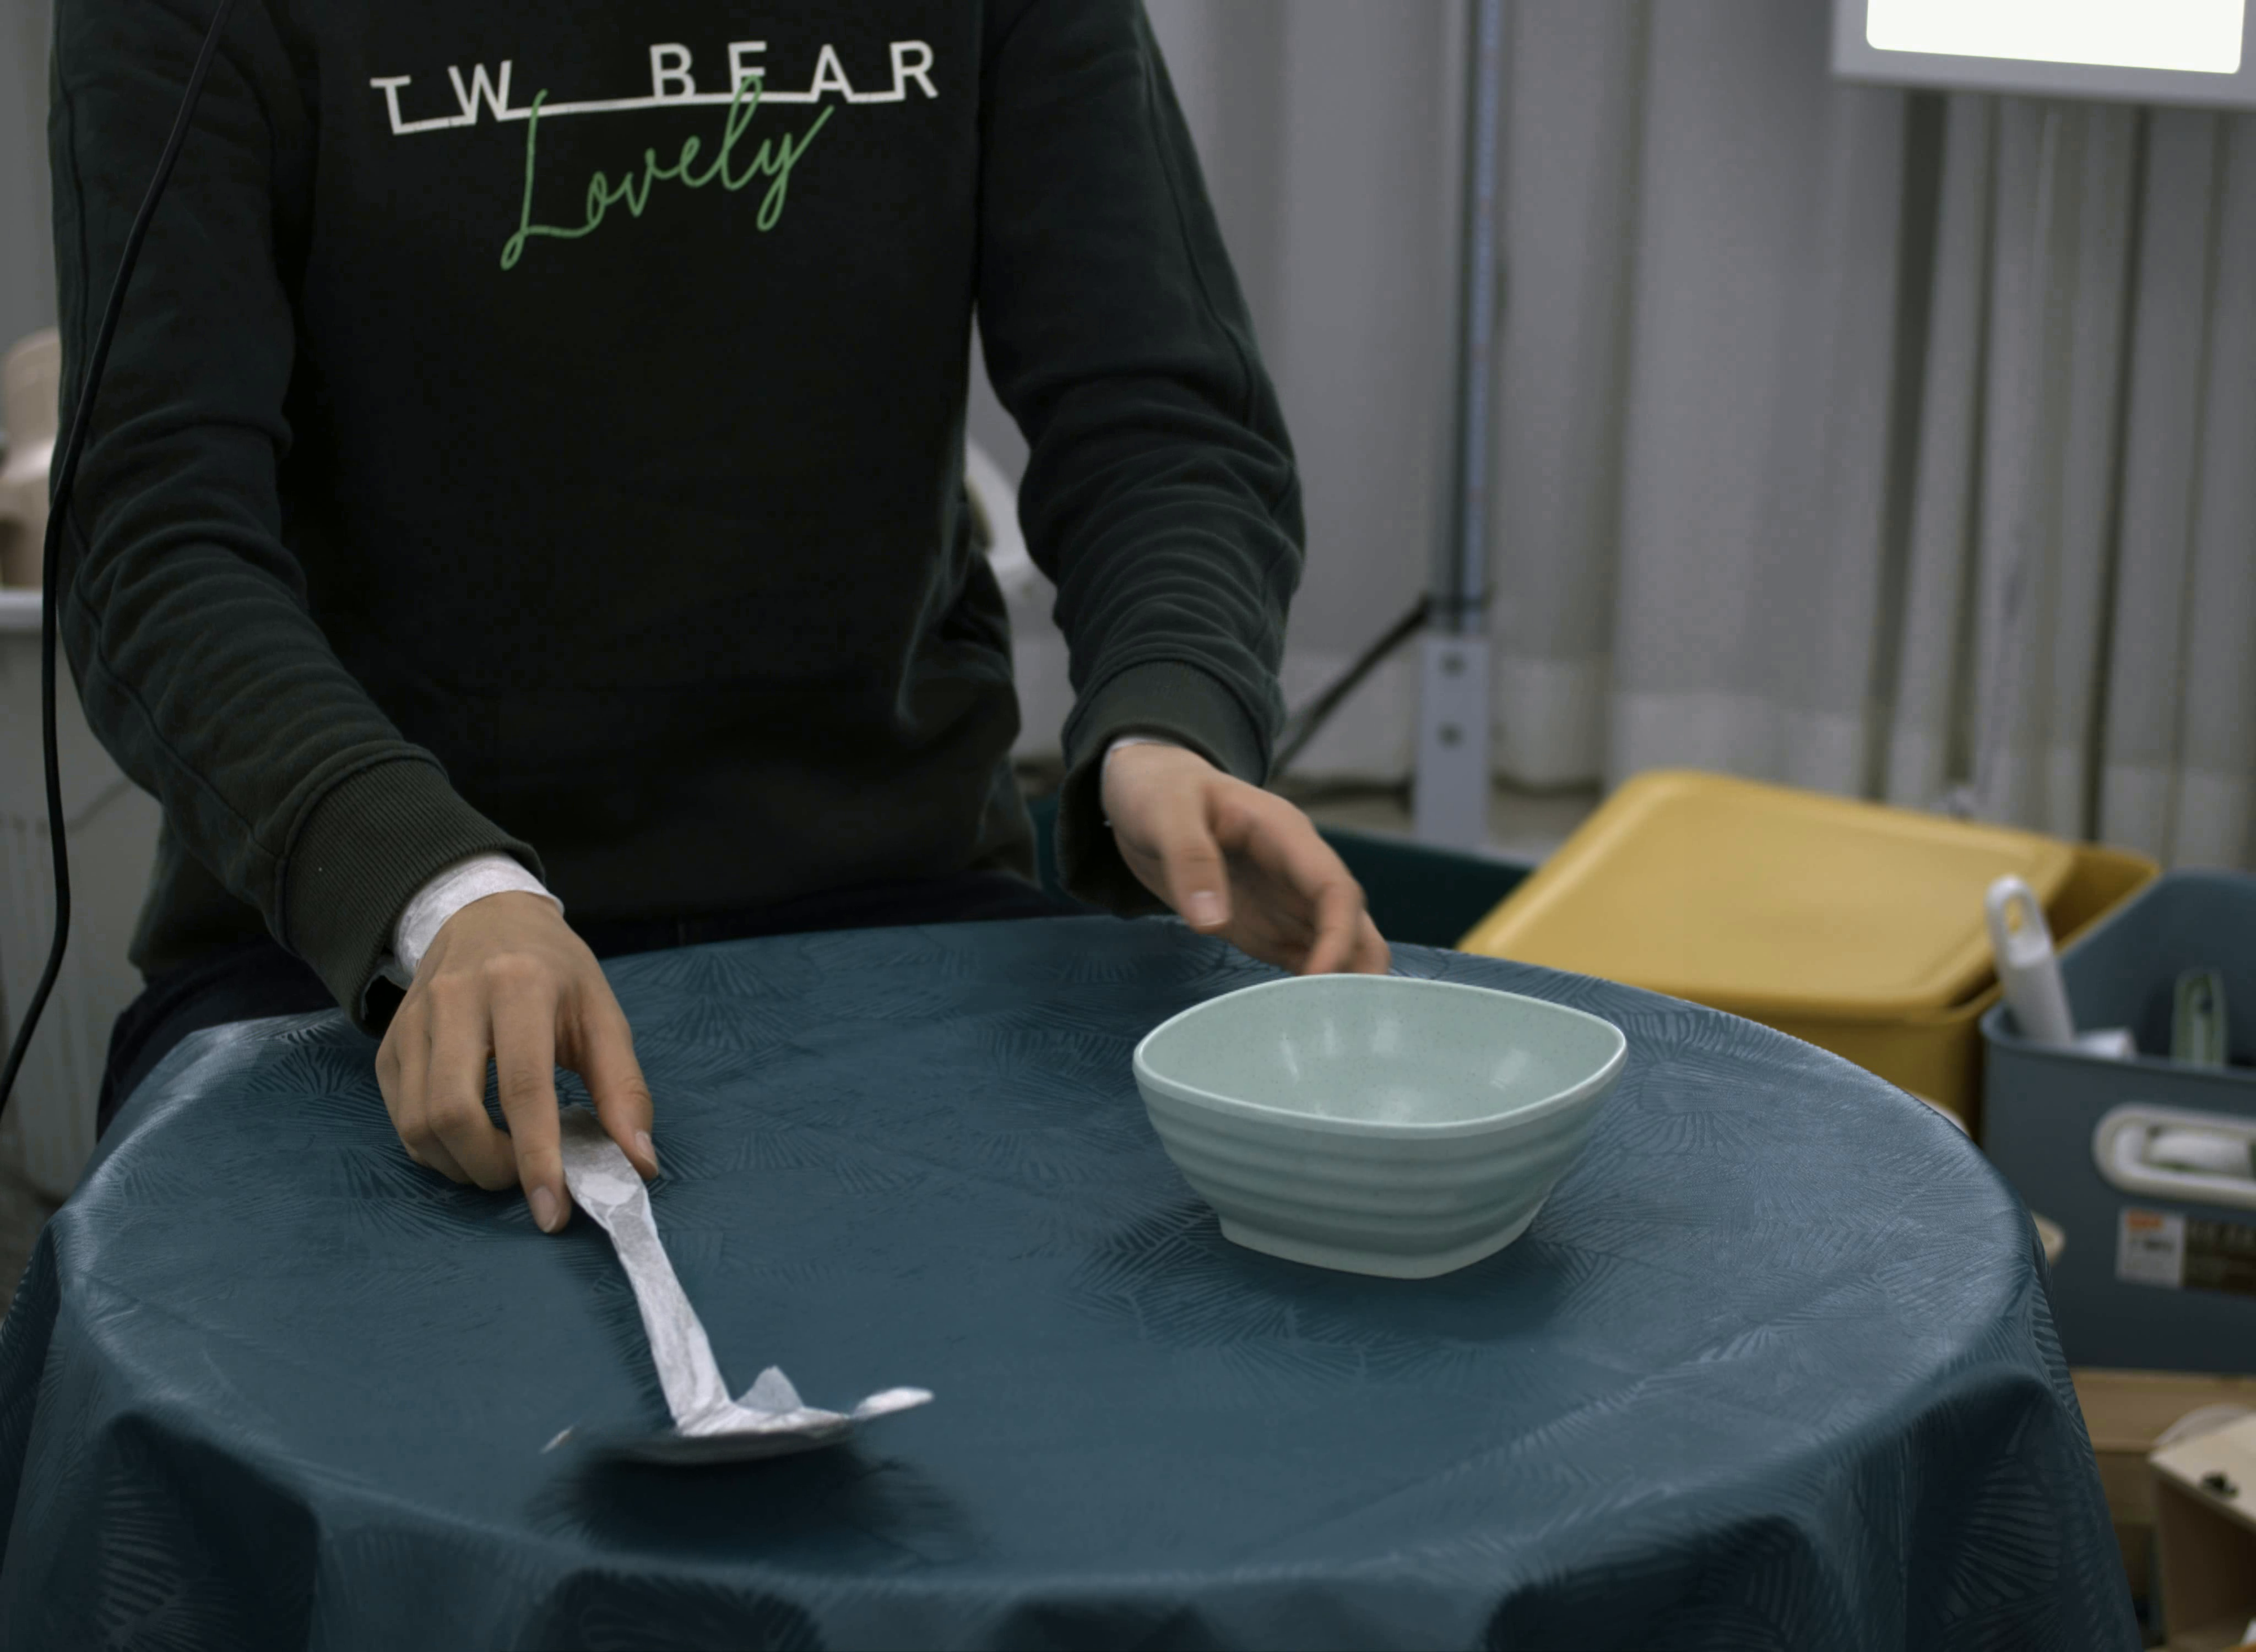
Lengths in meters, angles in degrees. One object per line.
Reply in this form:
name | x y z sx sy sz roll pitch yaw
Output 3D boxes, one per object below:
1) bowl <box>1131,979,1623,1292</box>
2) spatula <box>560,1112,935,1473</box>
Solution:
bowl | 0.074 0.097 1.592 0.151 0.059 0.150 2 16 0
spatula | -0.133 0.124 1.509 0.099 0.045 0.361 -5 17 -13
